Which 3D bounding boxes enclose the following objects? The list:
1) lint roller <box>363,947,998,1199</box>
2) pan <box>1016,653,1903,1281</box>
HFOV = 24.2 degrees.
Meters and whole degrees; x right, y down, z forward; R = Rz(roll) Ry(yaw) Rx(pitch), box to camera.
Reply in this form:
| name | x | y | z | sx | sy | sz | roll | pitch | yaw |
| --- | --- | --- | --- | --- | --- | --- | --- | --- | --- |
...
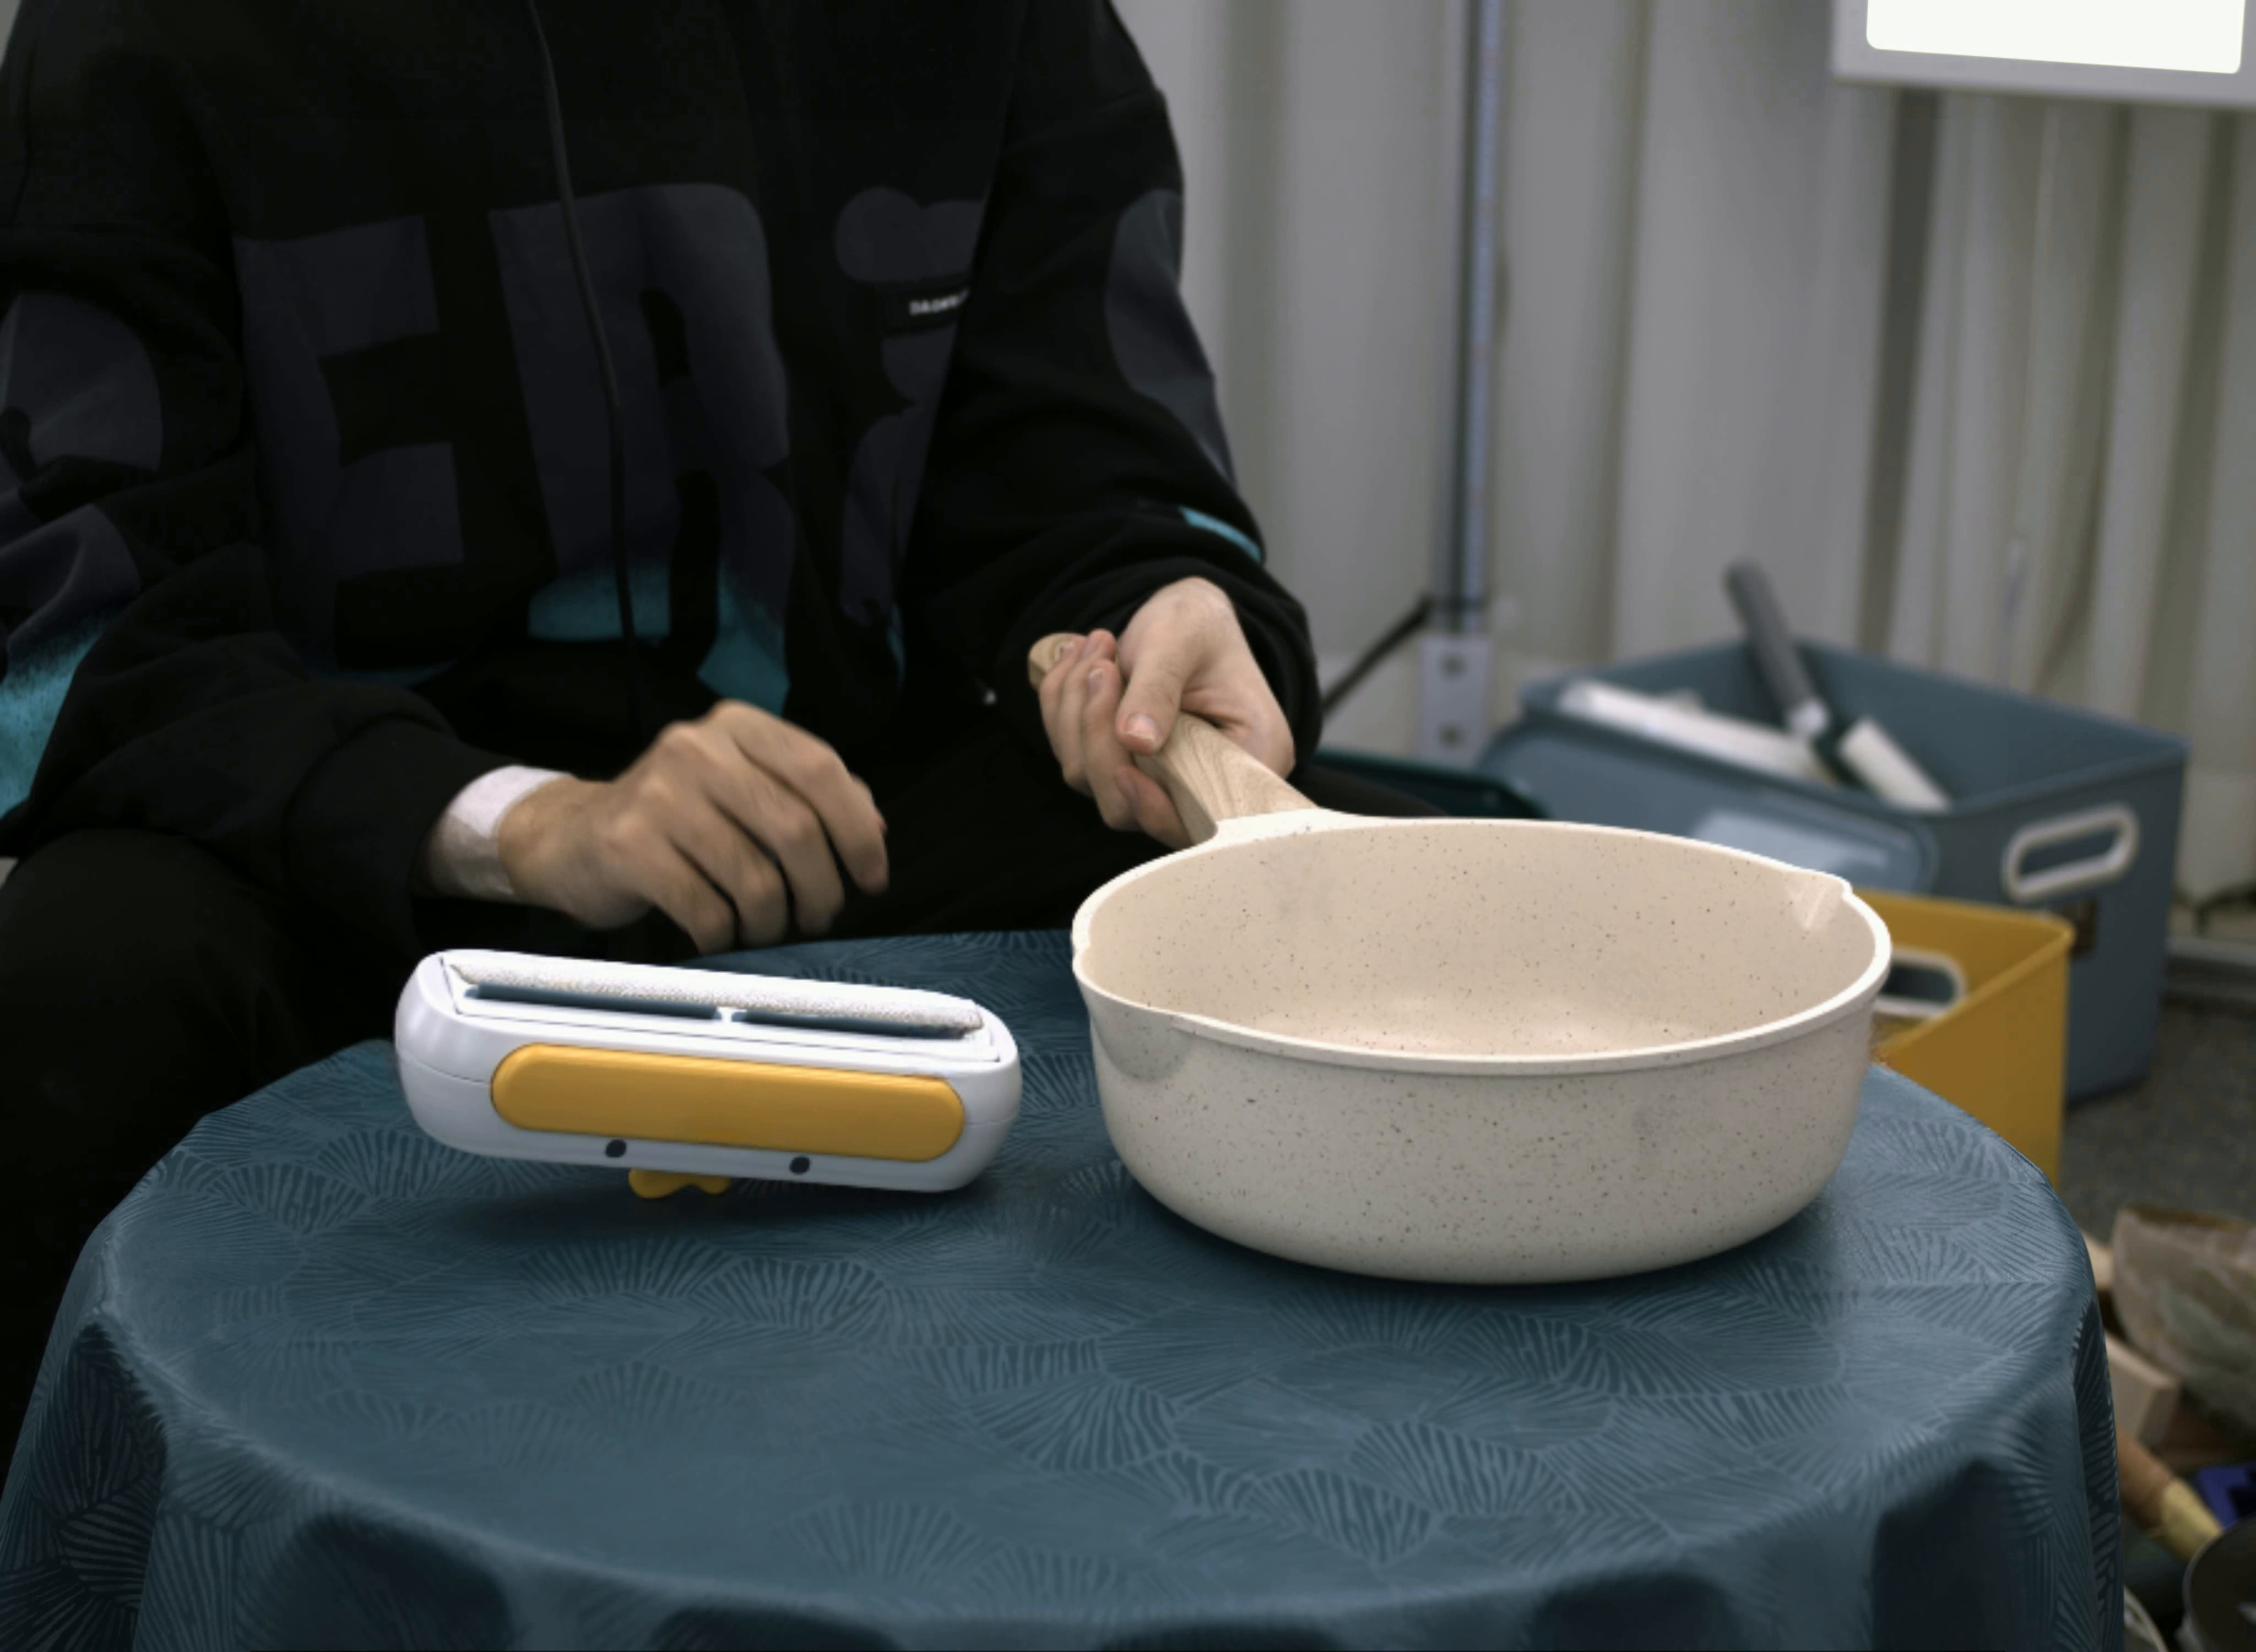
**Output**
| name | x | y | z | sx | sy | sz | roll | pitch | yaw |
| --- | --- | --- | --- | --- | --- | --- | --- | --- | --- |
| lint roller | -0.147 | 0.067 | 1.651 | 0.193 | 0.075 | 0.191 | 2 | 13 | -13 |
| pan | 0.071 | 0.039 | 1.697 | 0.264 | 0.103 | 0.429 | -10 | 19 | -25 |
